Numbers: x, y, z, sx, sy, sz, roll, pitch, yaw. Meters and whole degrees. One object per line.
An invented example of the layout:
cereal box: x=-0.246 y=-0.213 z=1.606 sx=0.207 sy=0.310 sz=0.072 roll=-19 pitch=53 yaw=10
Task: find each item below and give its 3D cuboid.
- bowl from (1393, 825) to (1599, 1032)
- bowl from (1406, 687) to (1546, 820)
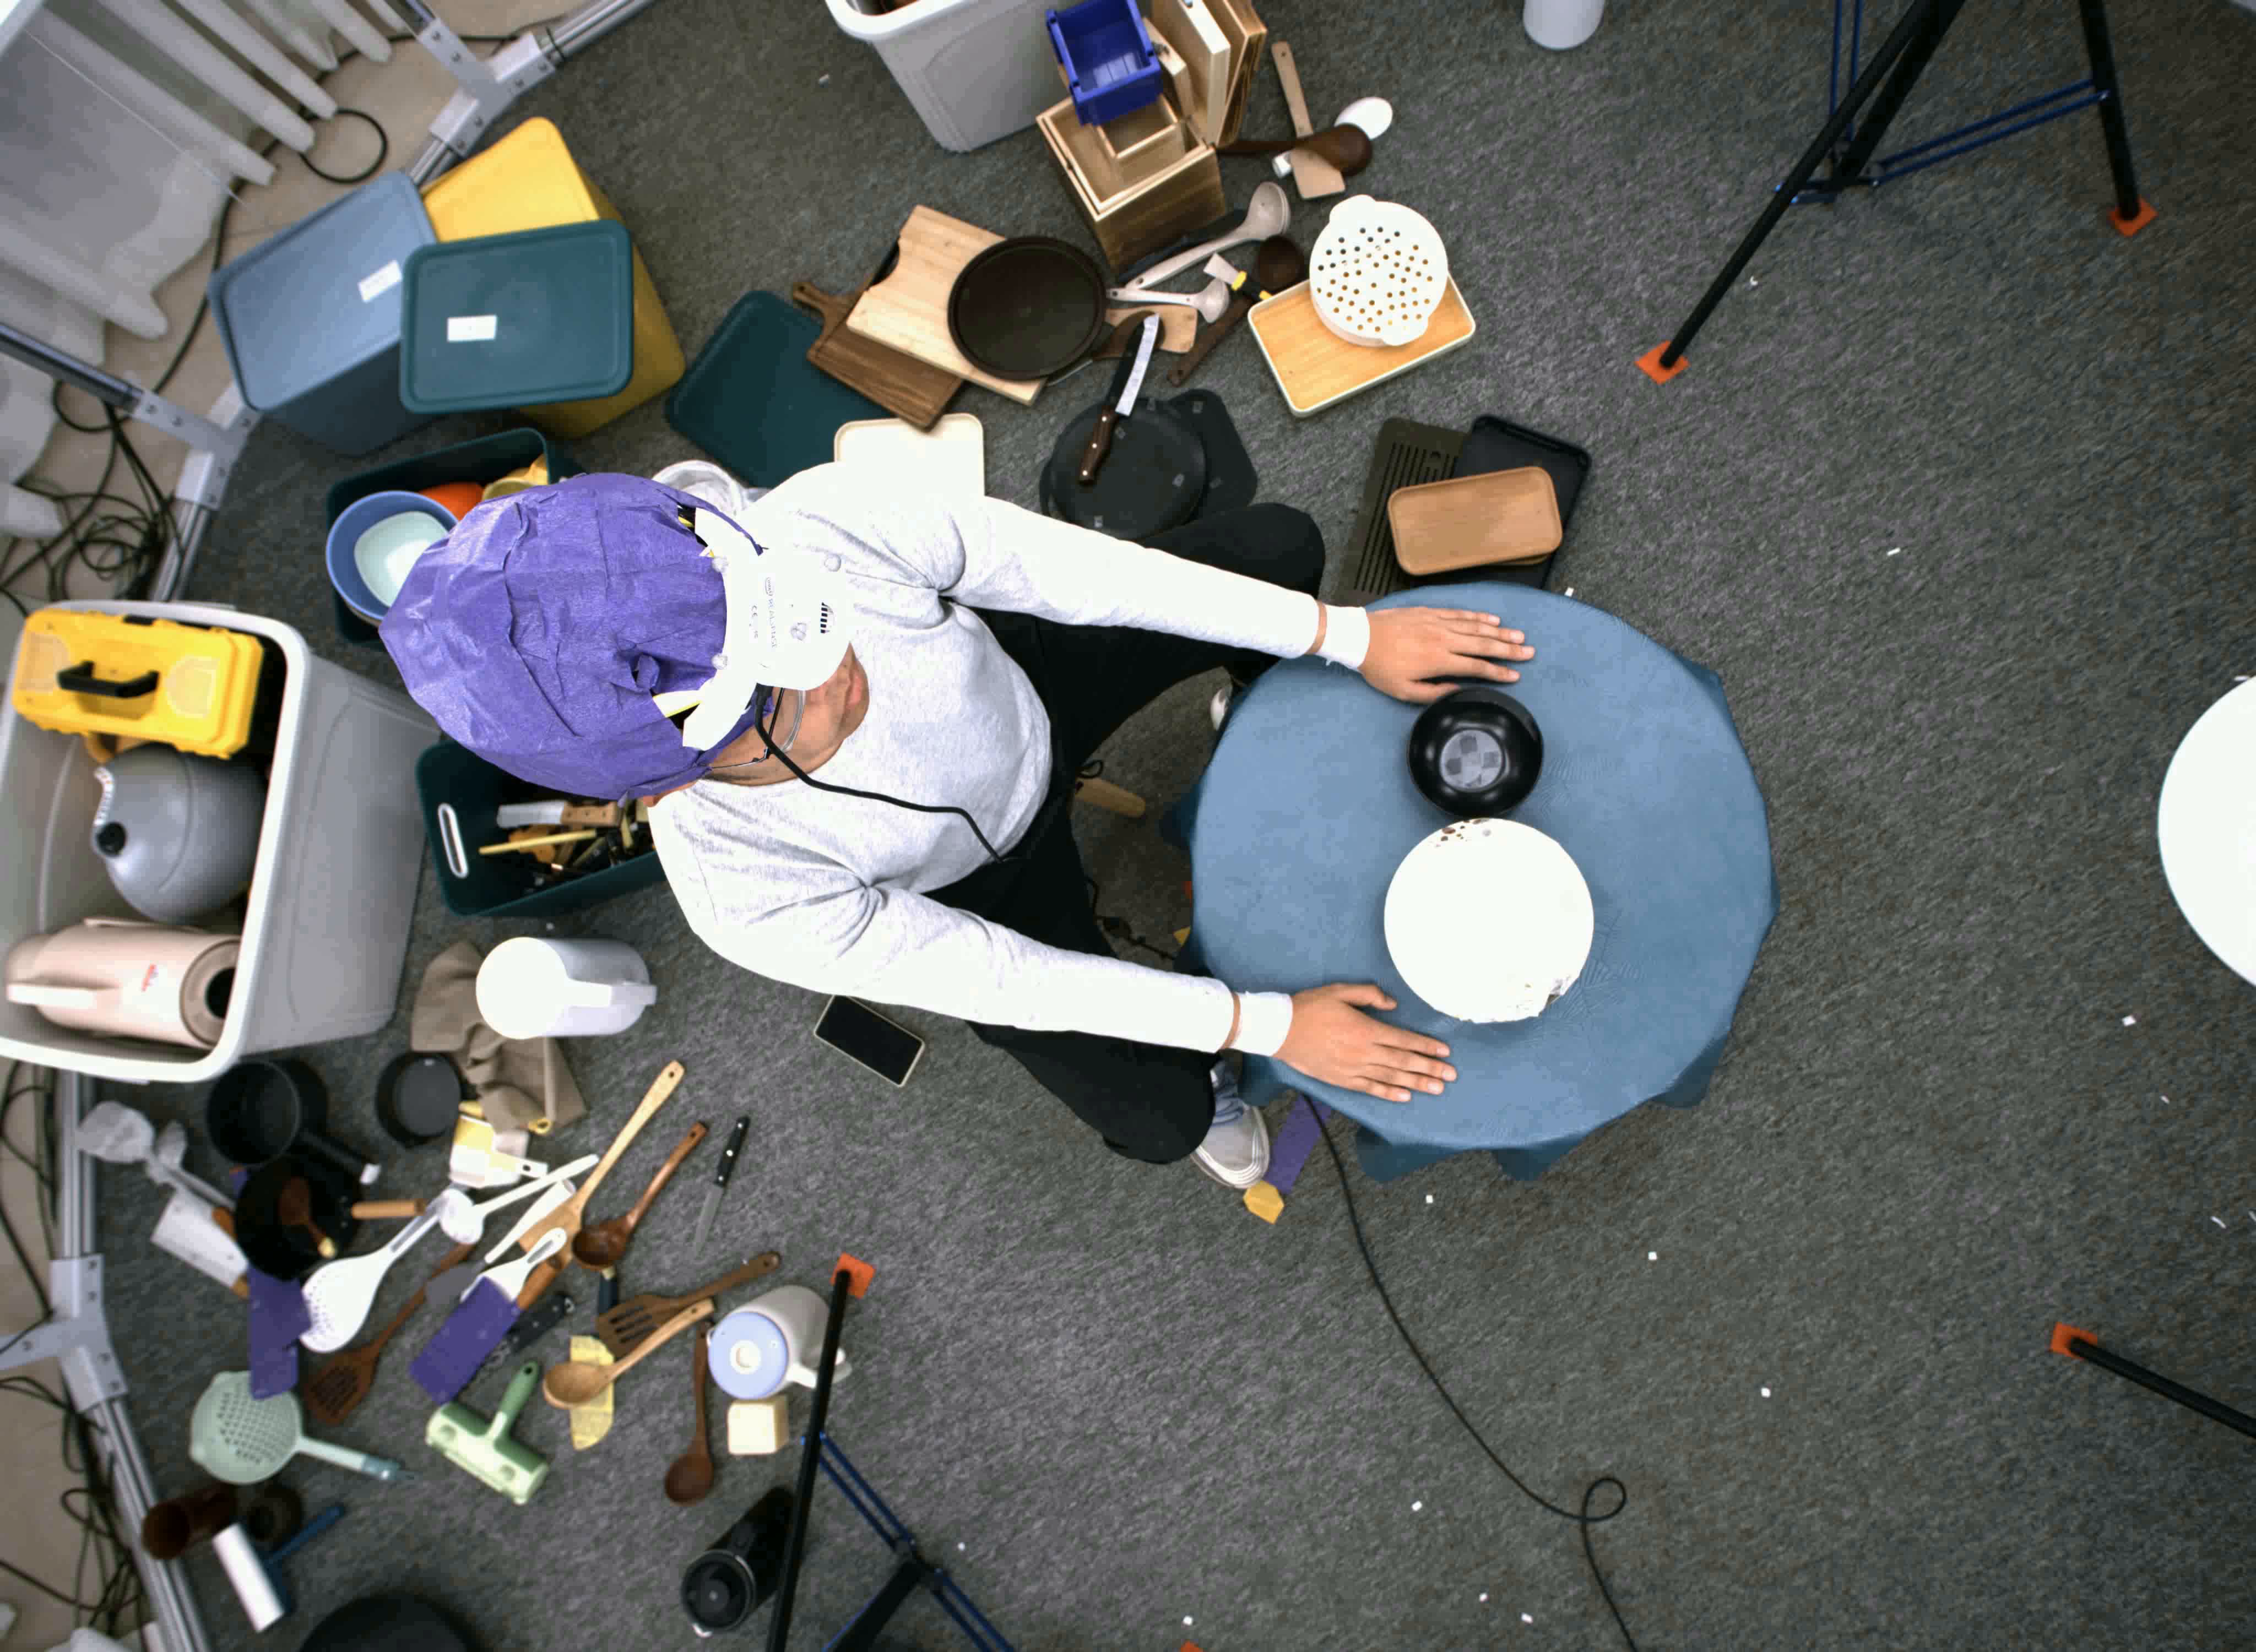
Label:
bowl: x=0.363 y=0.102 z=1.388 sx=0.204 sy=0.078 sz=0.203 roll=0 pitch=85 yaw=2
bowl: x=0.360 y=-0.074 z=1.426 sx=0.140 sy=0.050 sz=0.139 roll=-2 pitch=84 yaw=12
